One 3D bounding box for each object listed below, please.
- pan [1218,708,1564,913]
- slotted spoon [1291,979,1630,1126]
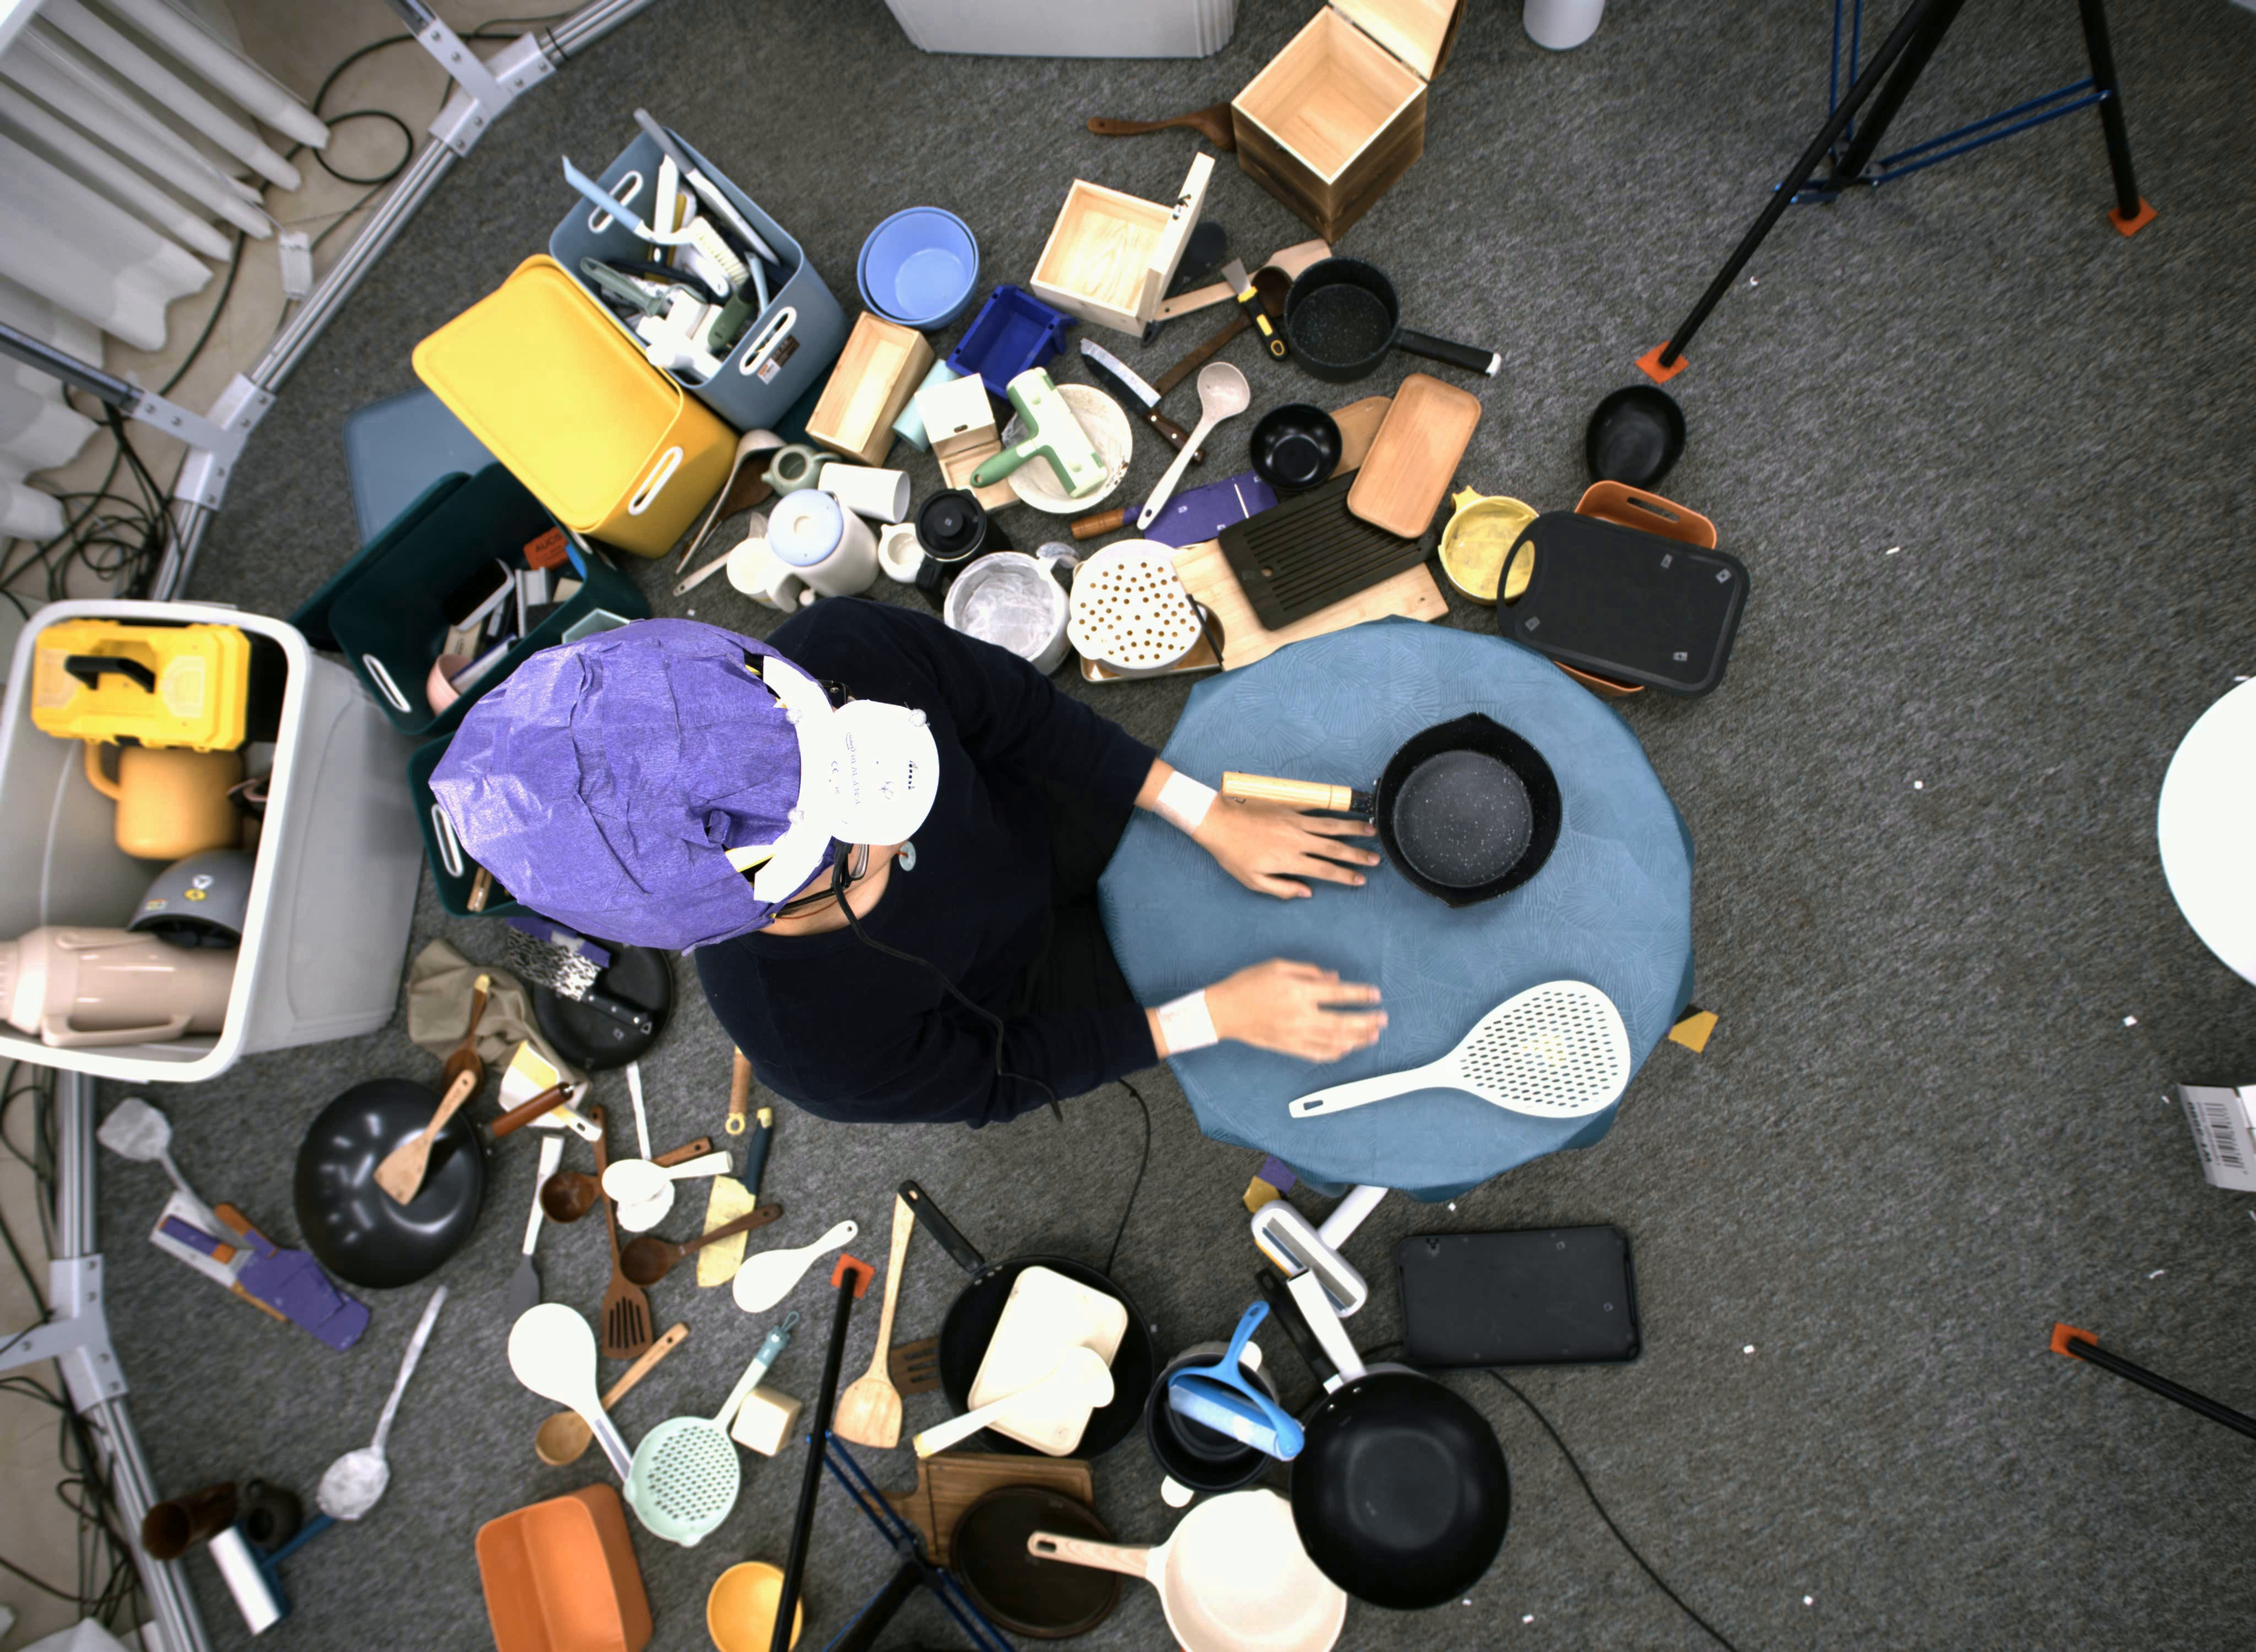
[{"bbox_3d":[0.265,-0.021,1.411,0.344,0.108,0.207,5,88,9],"label":"pan"},{"bbox_3d":[0.334,0.252,1.416,0.349,0.050,0.136,-15,83,8],"label":"slotted spoon"}]
